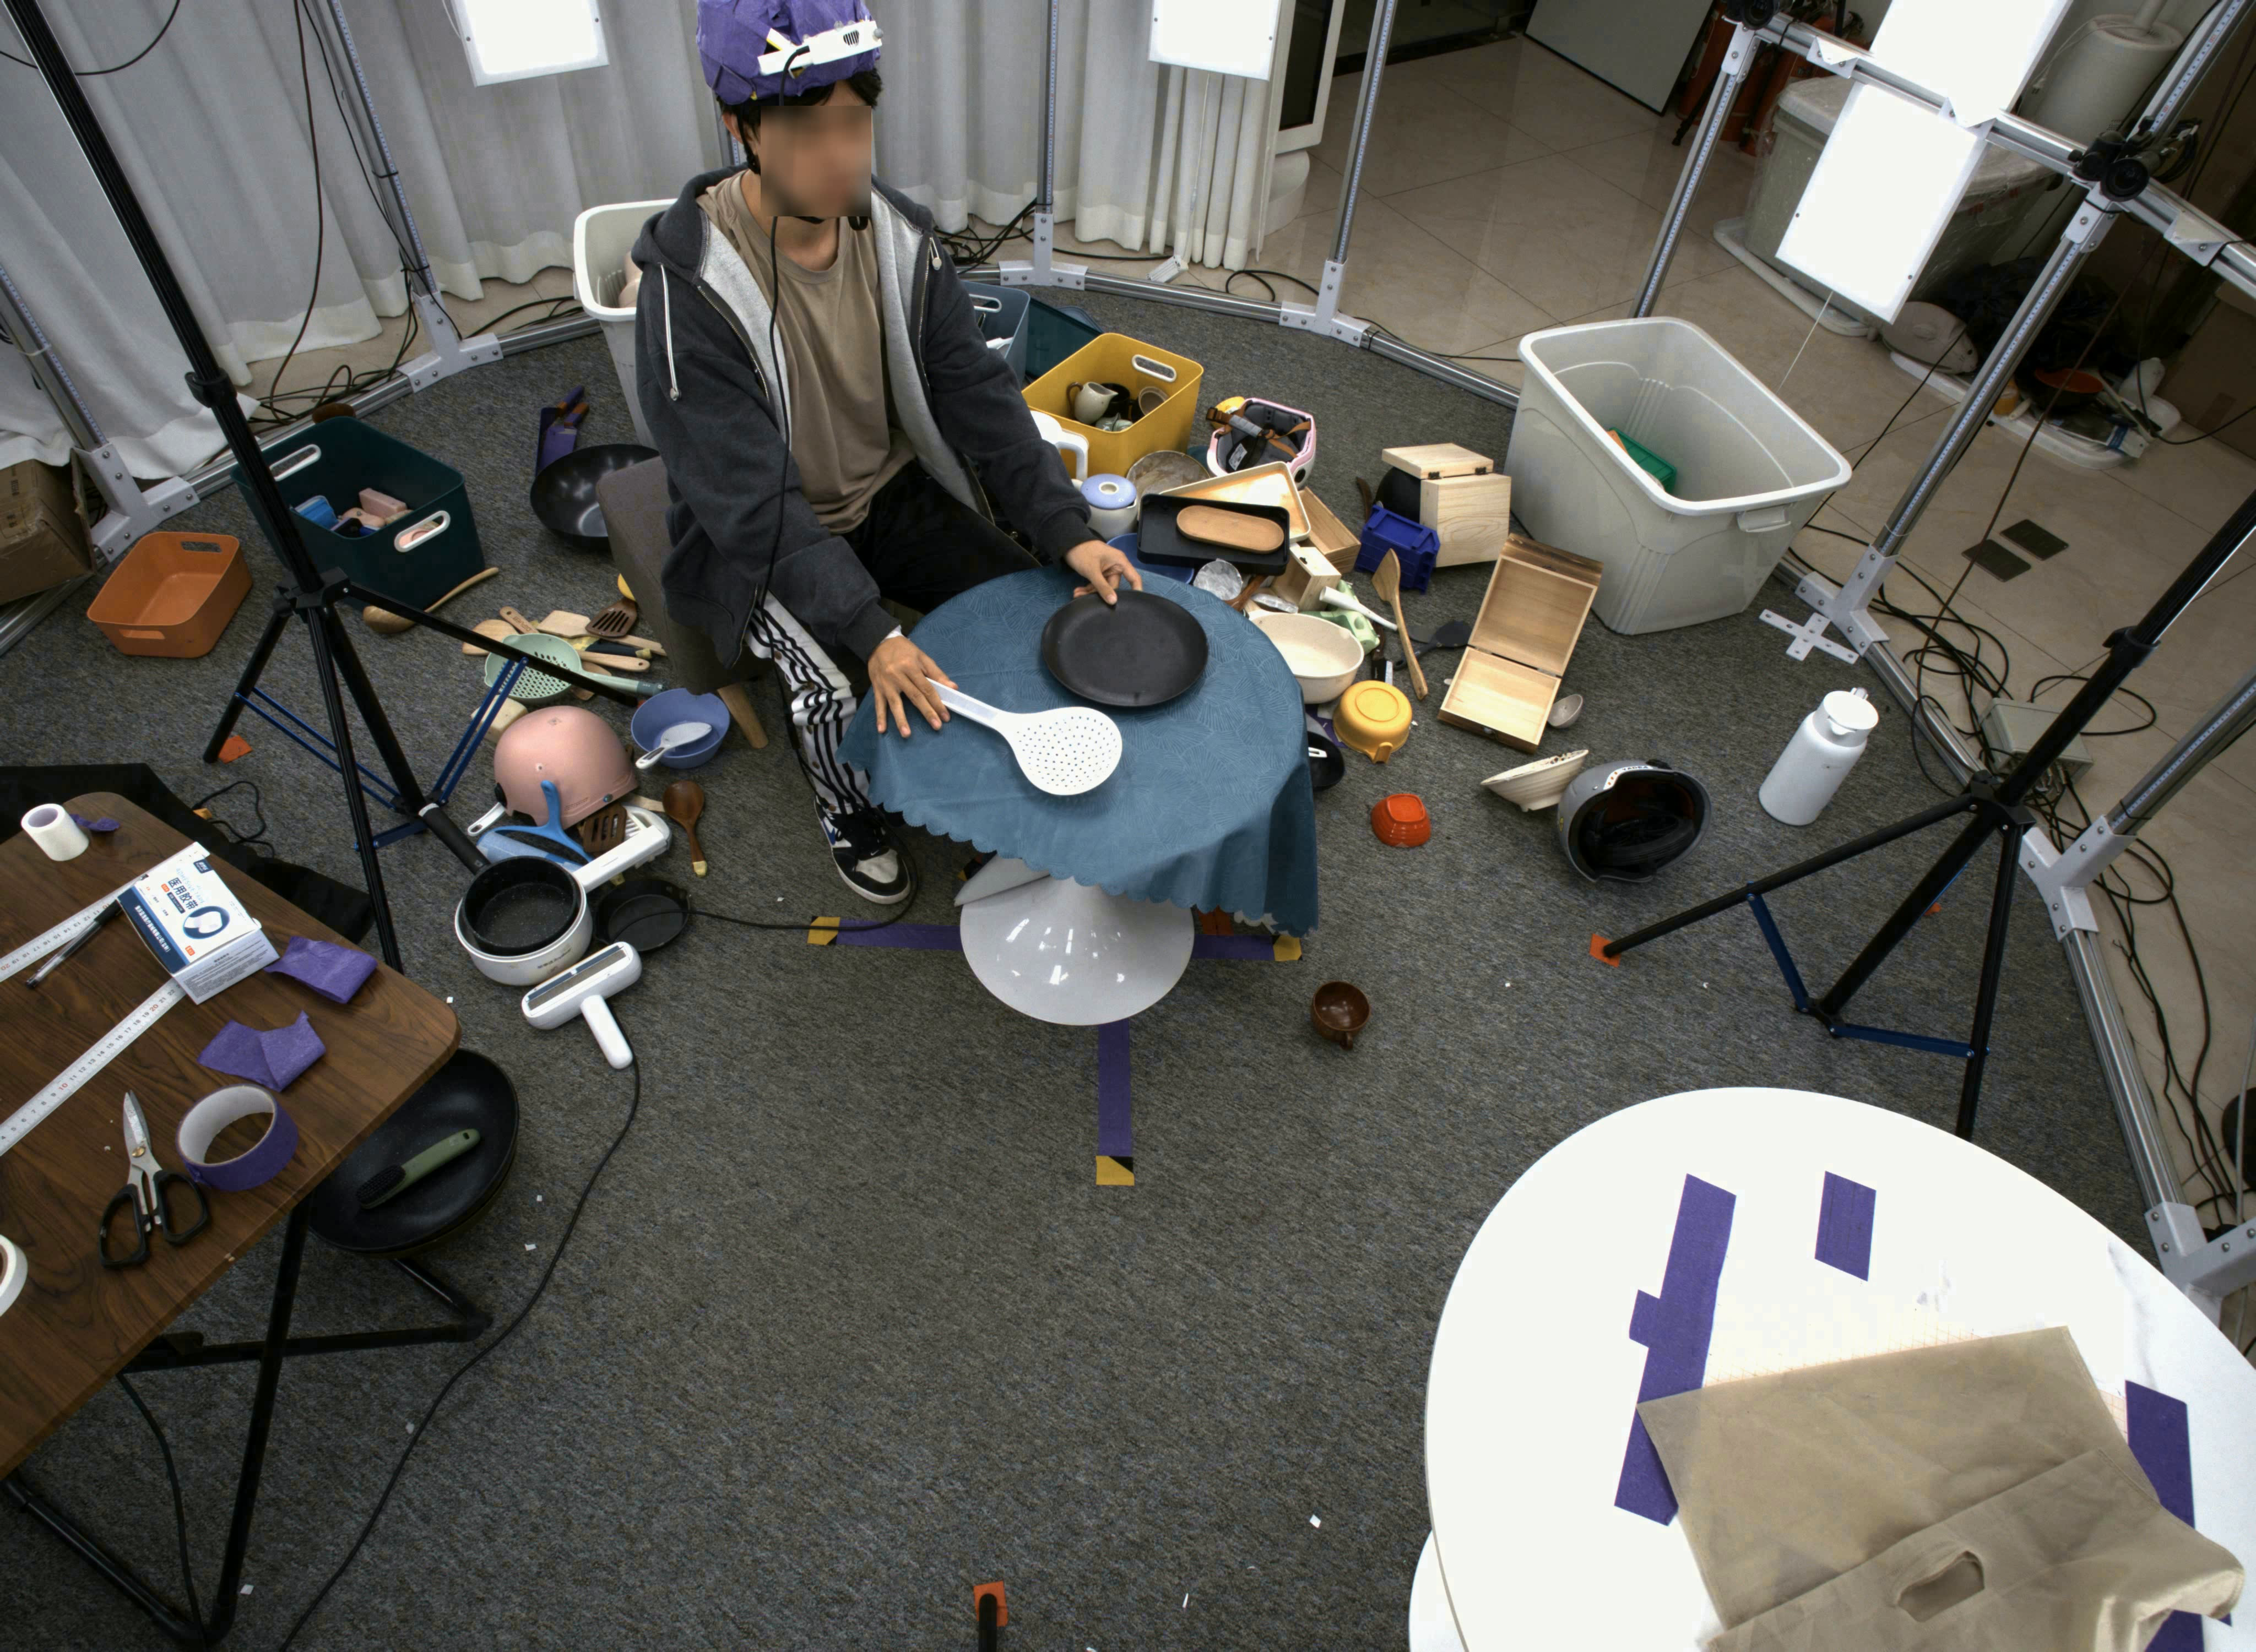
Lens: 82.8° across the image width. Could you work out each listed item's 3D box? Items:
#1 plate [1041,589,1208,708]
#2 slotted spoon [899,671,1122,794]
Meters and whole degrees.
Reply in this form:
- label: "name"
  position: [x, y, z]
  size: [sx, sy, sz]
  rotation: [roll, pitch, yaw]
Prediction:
- label: "plate"
  position: [-0.005, -0.256, 1.871]
  size: [0.244, 0.023, 0.250]
  rotation: [1, 50, -2]
- label: "slotted spoon"
  position: [-0.167, -0.138, 1.742]
  size: [0.353, 0.045, 0.138]
  rotation: [26, 64, 18]
